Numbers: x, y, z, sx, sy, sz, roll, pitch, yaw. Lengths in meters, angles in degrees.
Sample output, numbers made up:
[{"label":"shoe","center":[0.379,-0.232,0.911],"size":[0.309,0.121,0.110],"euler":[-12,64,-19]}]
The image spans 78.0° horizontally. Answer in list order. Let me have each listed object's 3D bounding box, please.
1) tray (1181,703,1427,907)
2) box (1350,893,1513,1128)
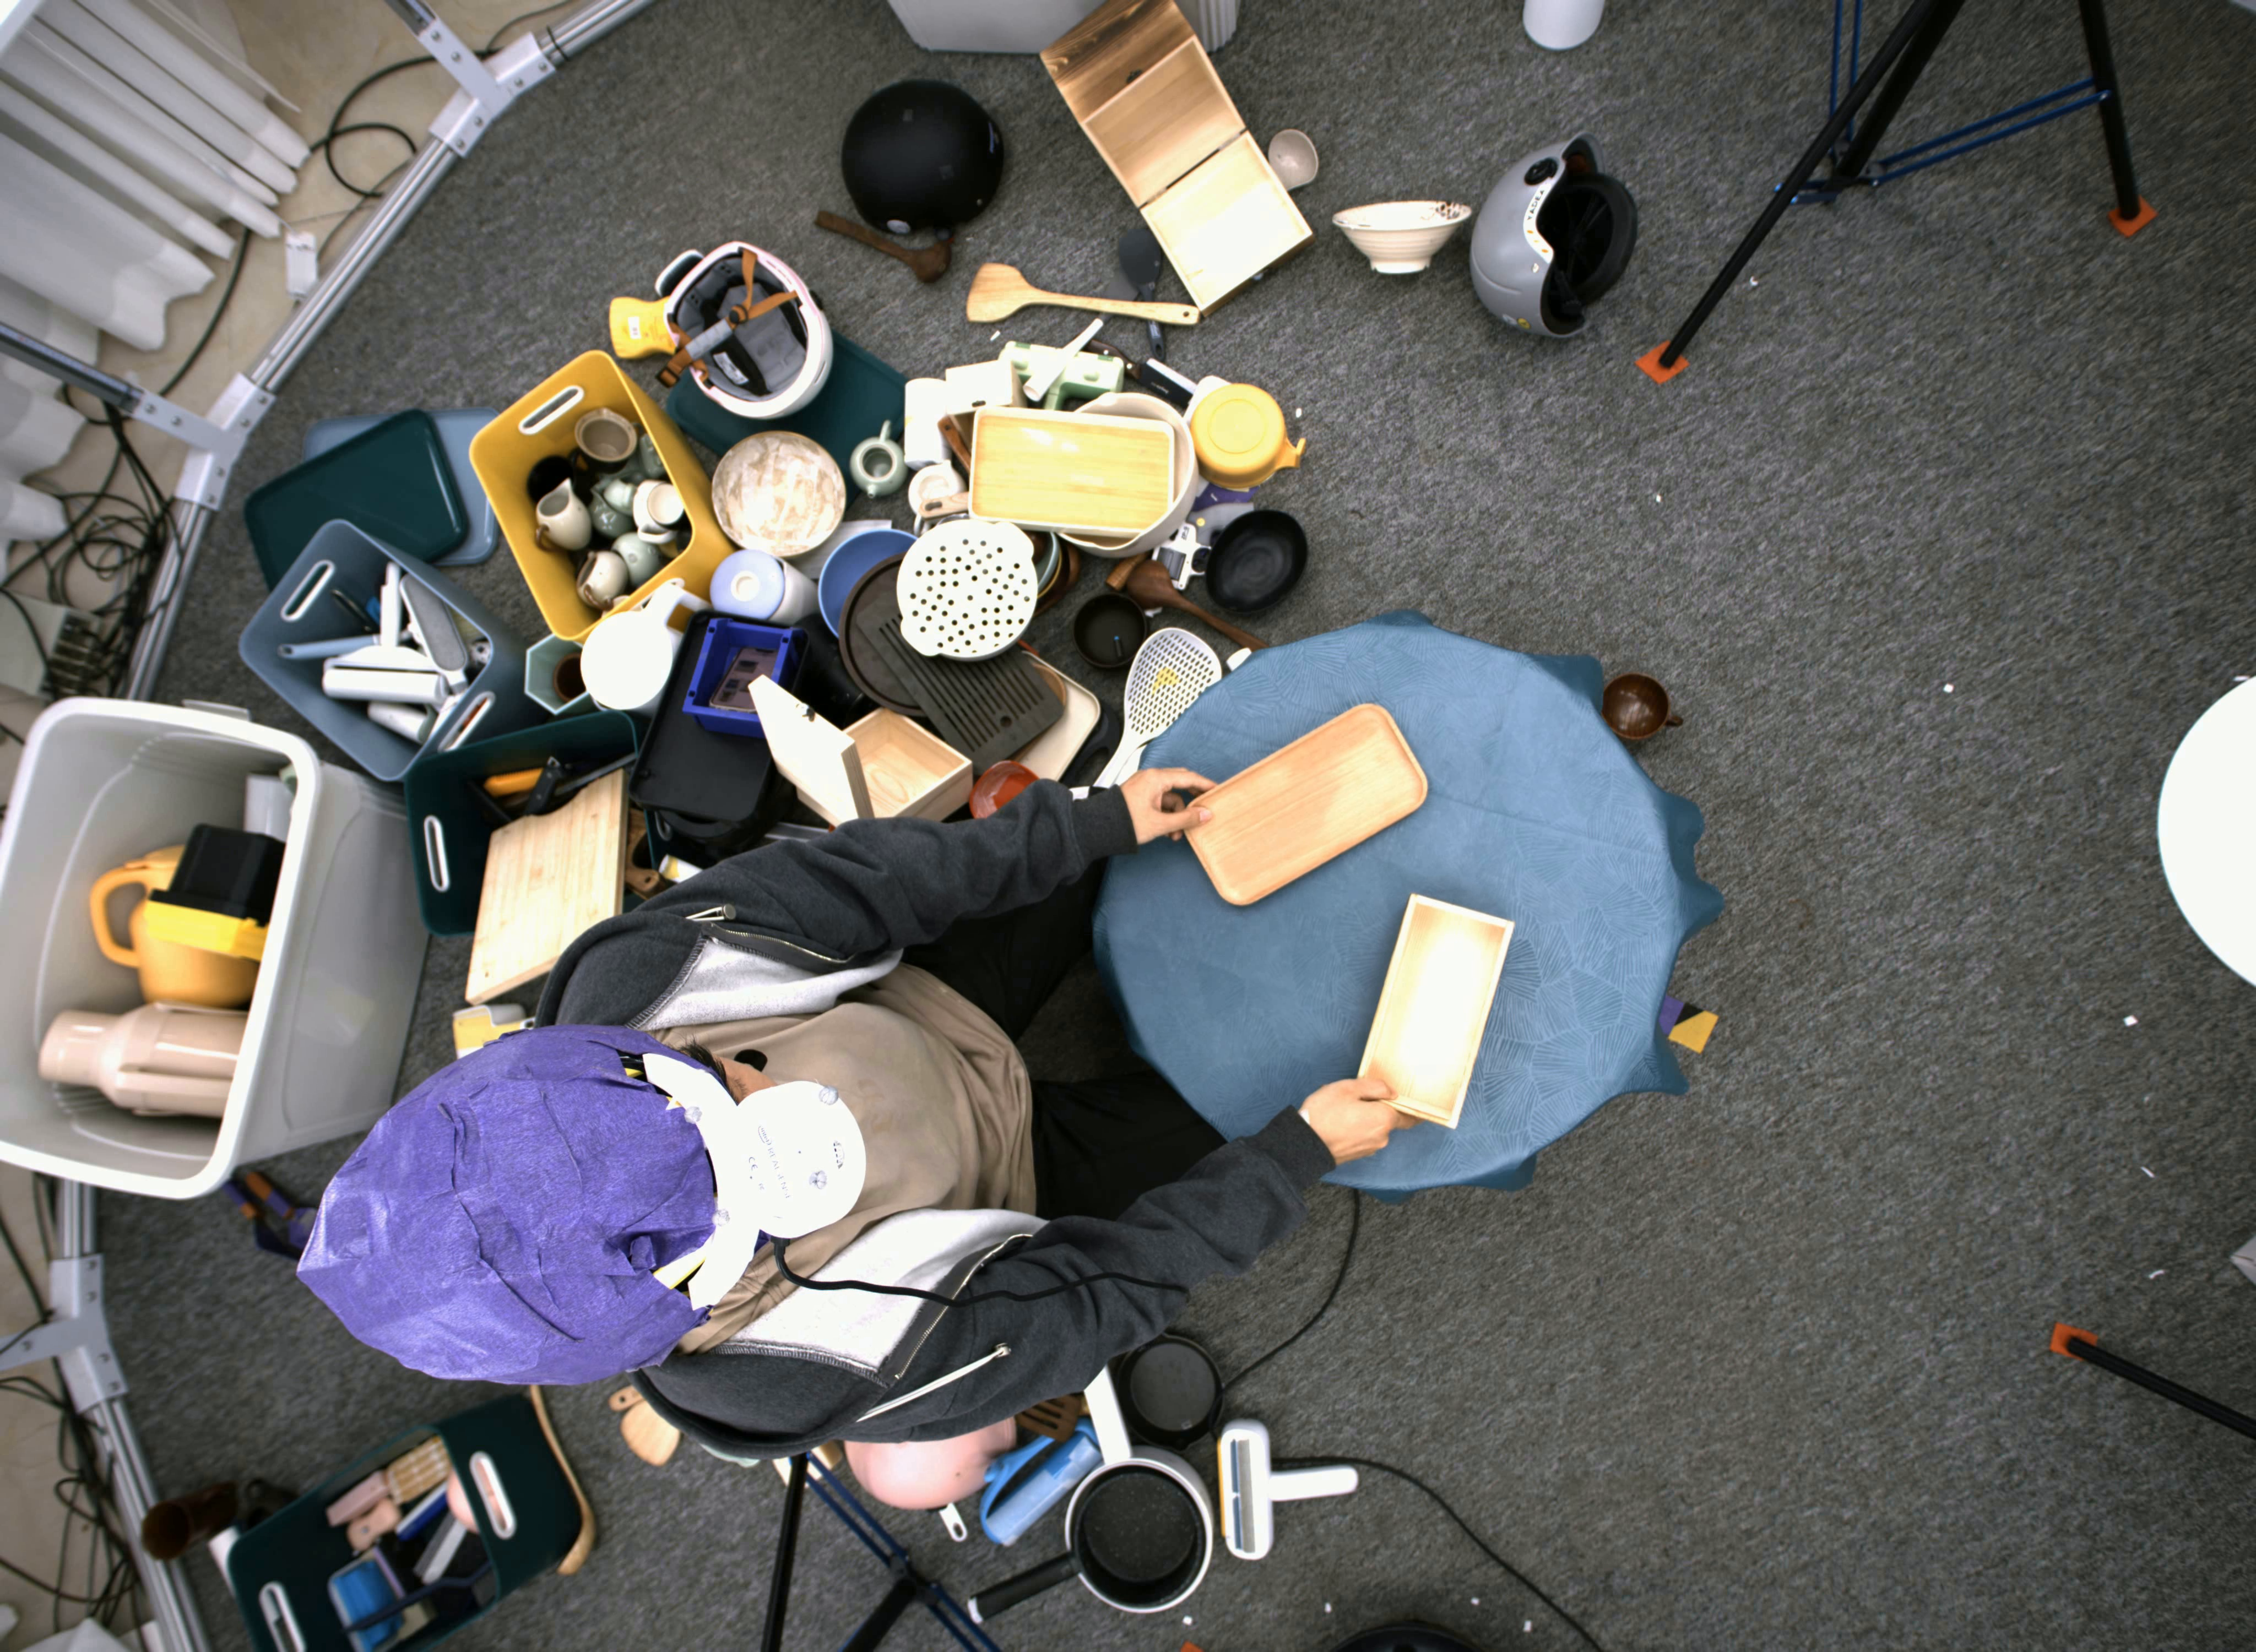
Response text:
[{"label":"tray","center":[0.185,-0.023,1.458],"size":[0.252,0.023,0.130],"euler":[-30,89,6]},{"label":"box","center":[0.308,0.183,1.399],"size":[0.107,0.080,0.211],"euler":[16,92,15]}]
